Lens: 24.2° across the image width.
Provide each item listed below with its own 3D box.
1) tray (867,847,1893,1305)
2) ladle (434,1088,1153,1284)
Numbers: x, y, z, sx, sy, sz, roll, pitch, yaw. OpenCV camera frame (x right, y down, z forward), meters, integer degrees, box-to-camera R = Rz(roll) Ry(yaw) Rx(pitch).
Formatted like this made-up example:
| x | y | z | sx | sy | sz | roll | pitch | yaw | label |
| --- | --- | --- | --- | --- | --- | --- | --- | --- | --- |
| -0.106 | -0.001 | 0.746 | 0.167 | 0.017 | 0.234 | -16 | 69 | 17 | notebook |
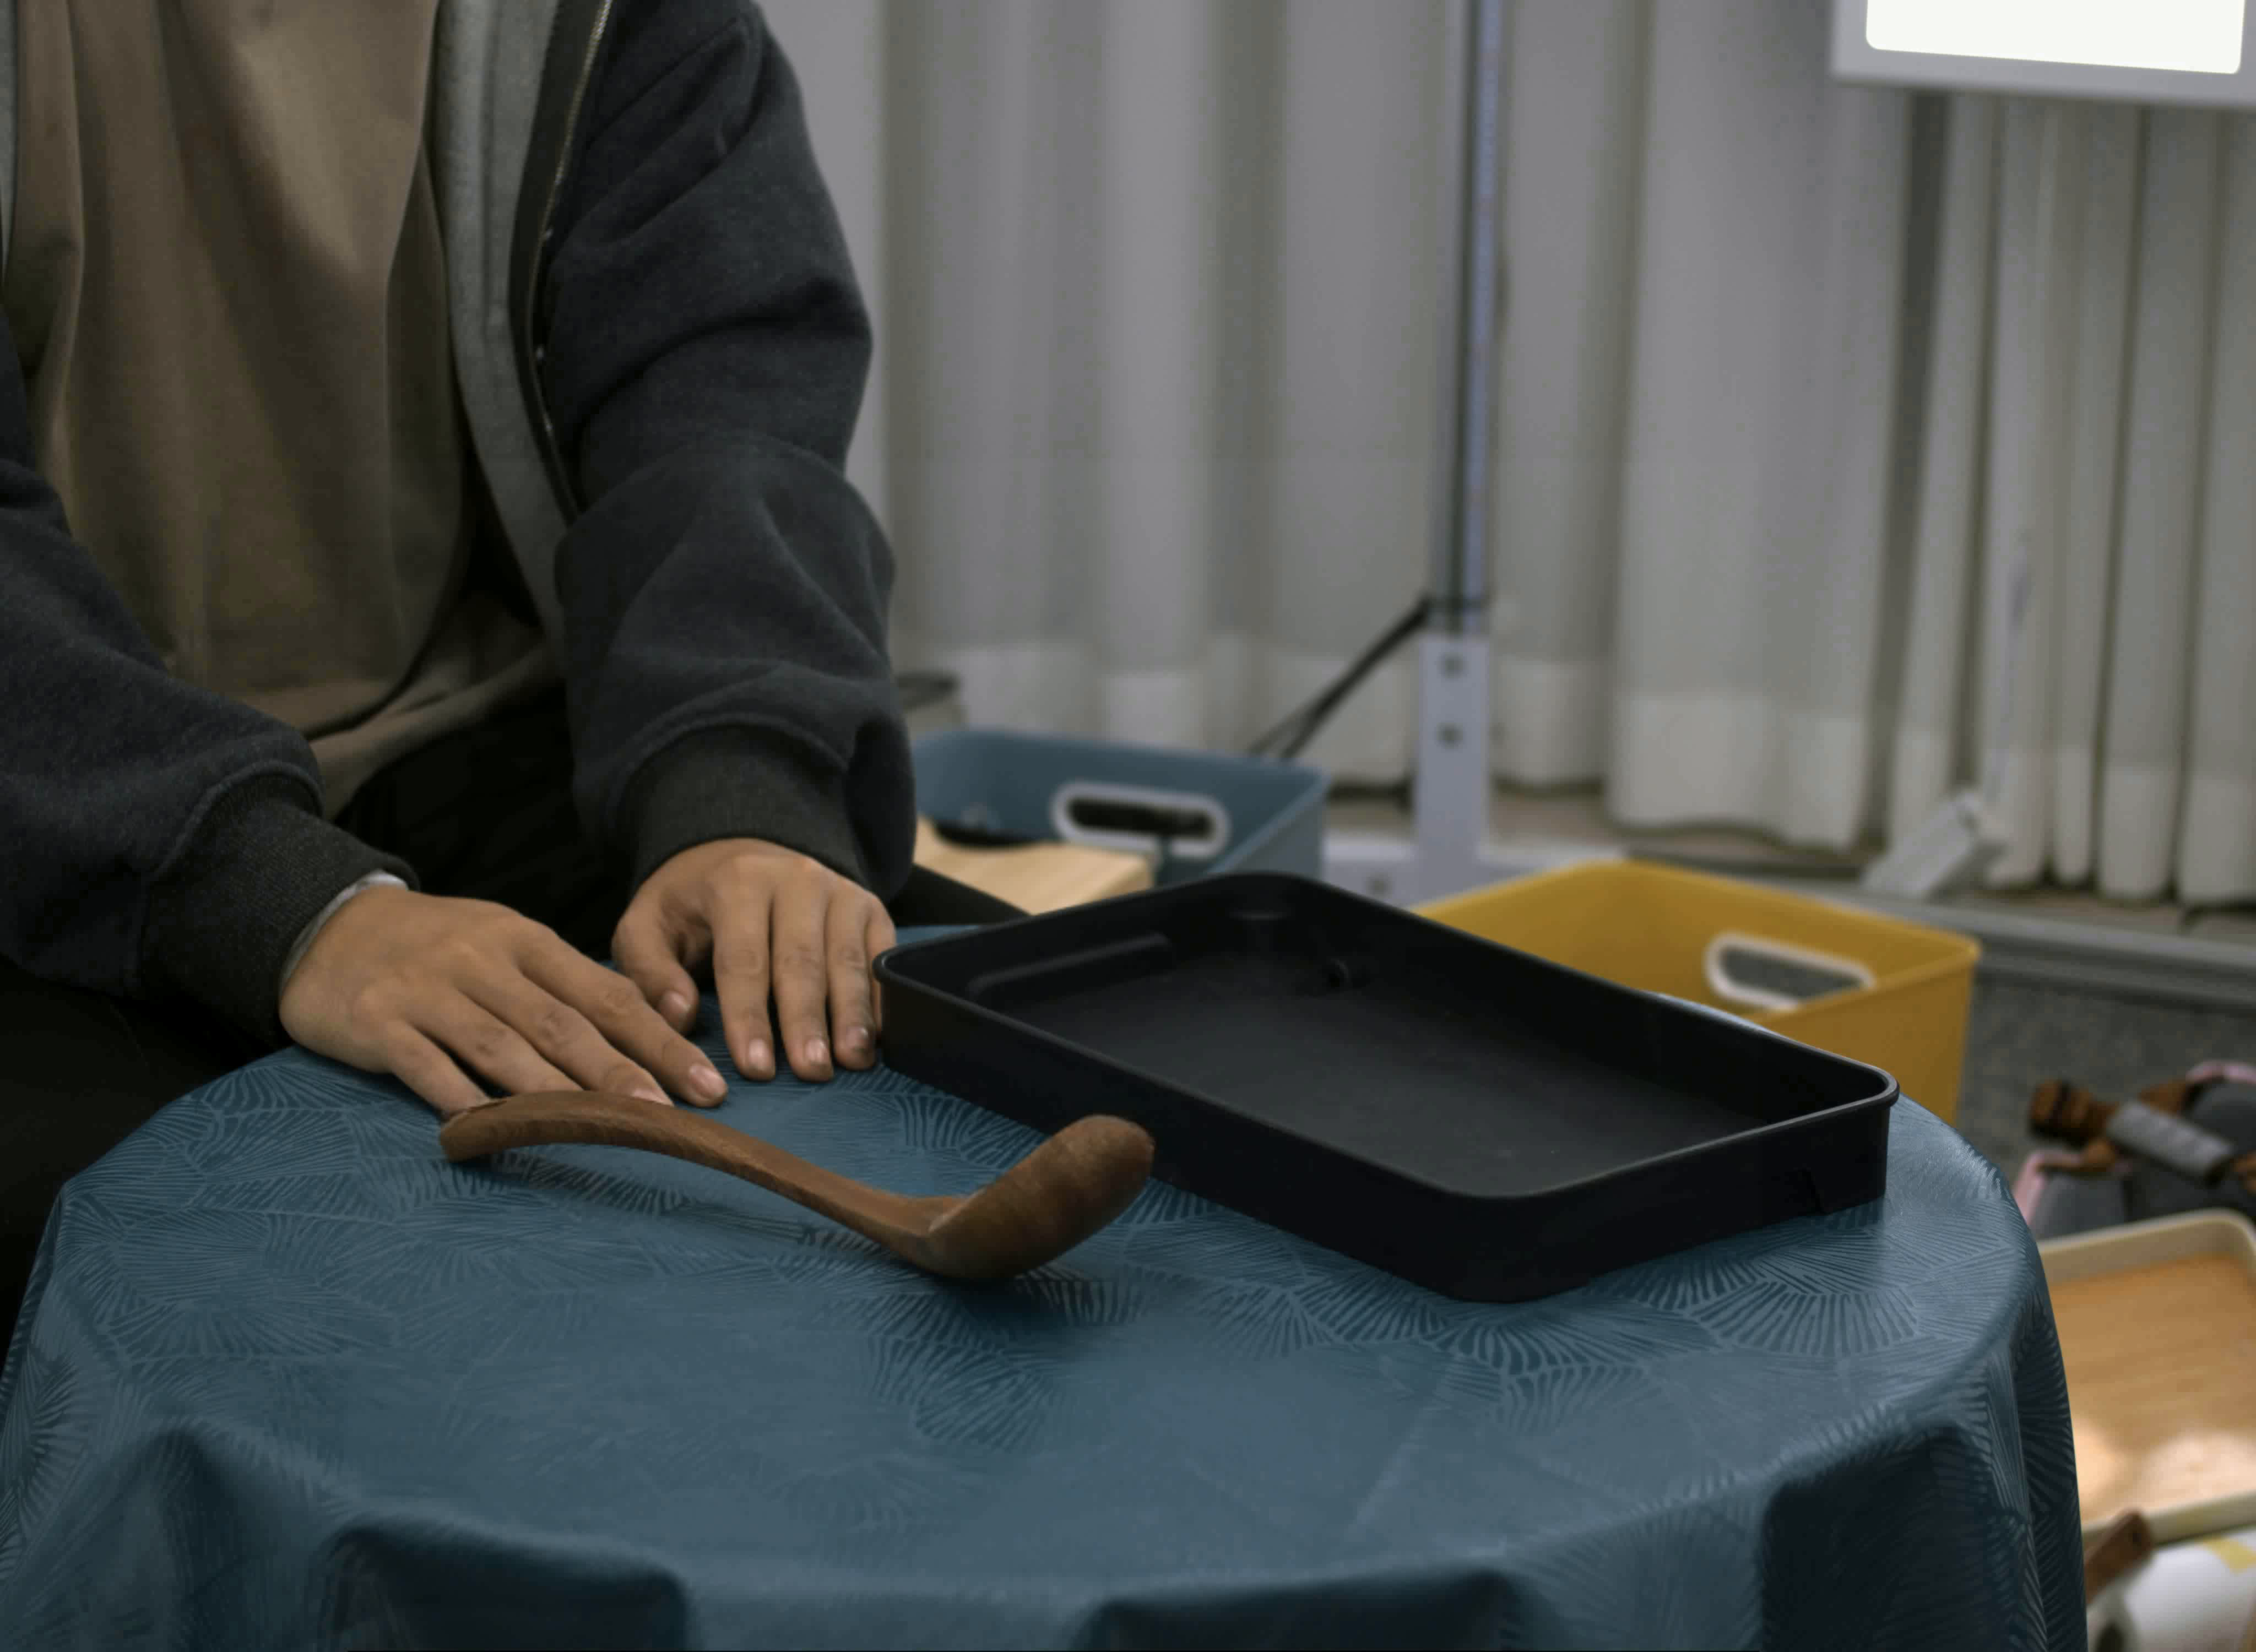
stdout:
| x | y | z | sx | sy | sz | roll | pitch | yaw | label |
| --- | --- | --- | --- | --- | --- | --- | --- | --- | --- |
| 0.075 | 0.074 | 1.684 | 0.185 | 0.037 | 0.313 | -12 | 21 | -38 | tray |
| -0.107 | 0.091 | 1.576 | 0.257 | 0.065 | 0.077 | 10 | 20 | 32 | ladle |
